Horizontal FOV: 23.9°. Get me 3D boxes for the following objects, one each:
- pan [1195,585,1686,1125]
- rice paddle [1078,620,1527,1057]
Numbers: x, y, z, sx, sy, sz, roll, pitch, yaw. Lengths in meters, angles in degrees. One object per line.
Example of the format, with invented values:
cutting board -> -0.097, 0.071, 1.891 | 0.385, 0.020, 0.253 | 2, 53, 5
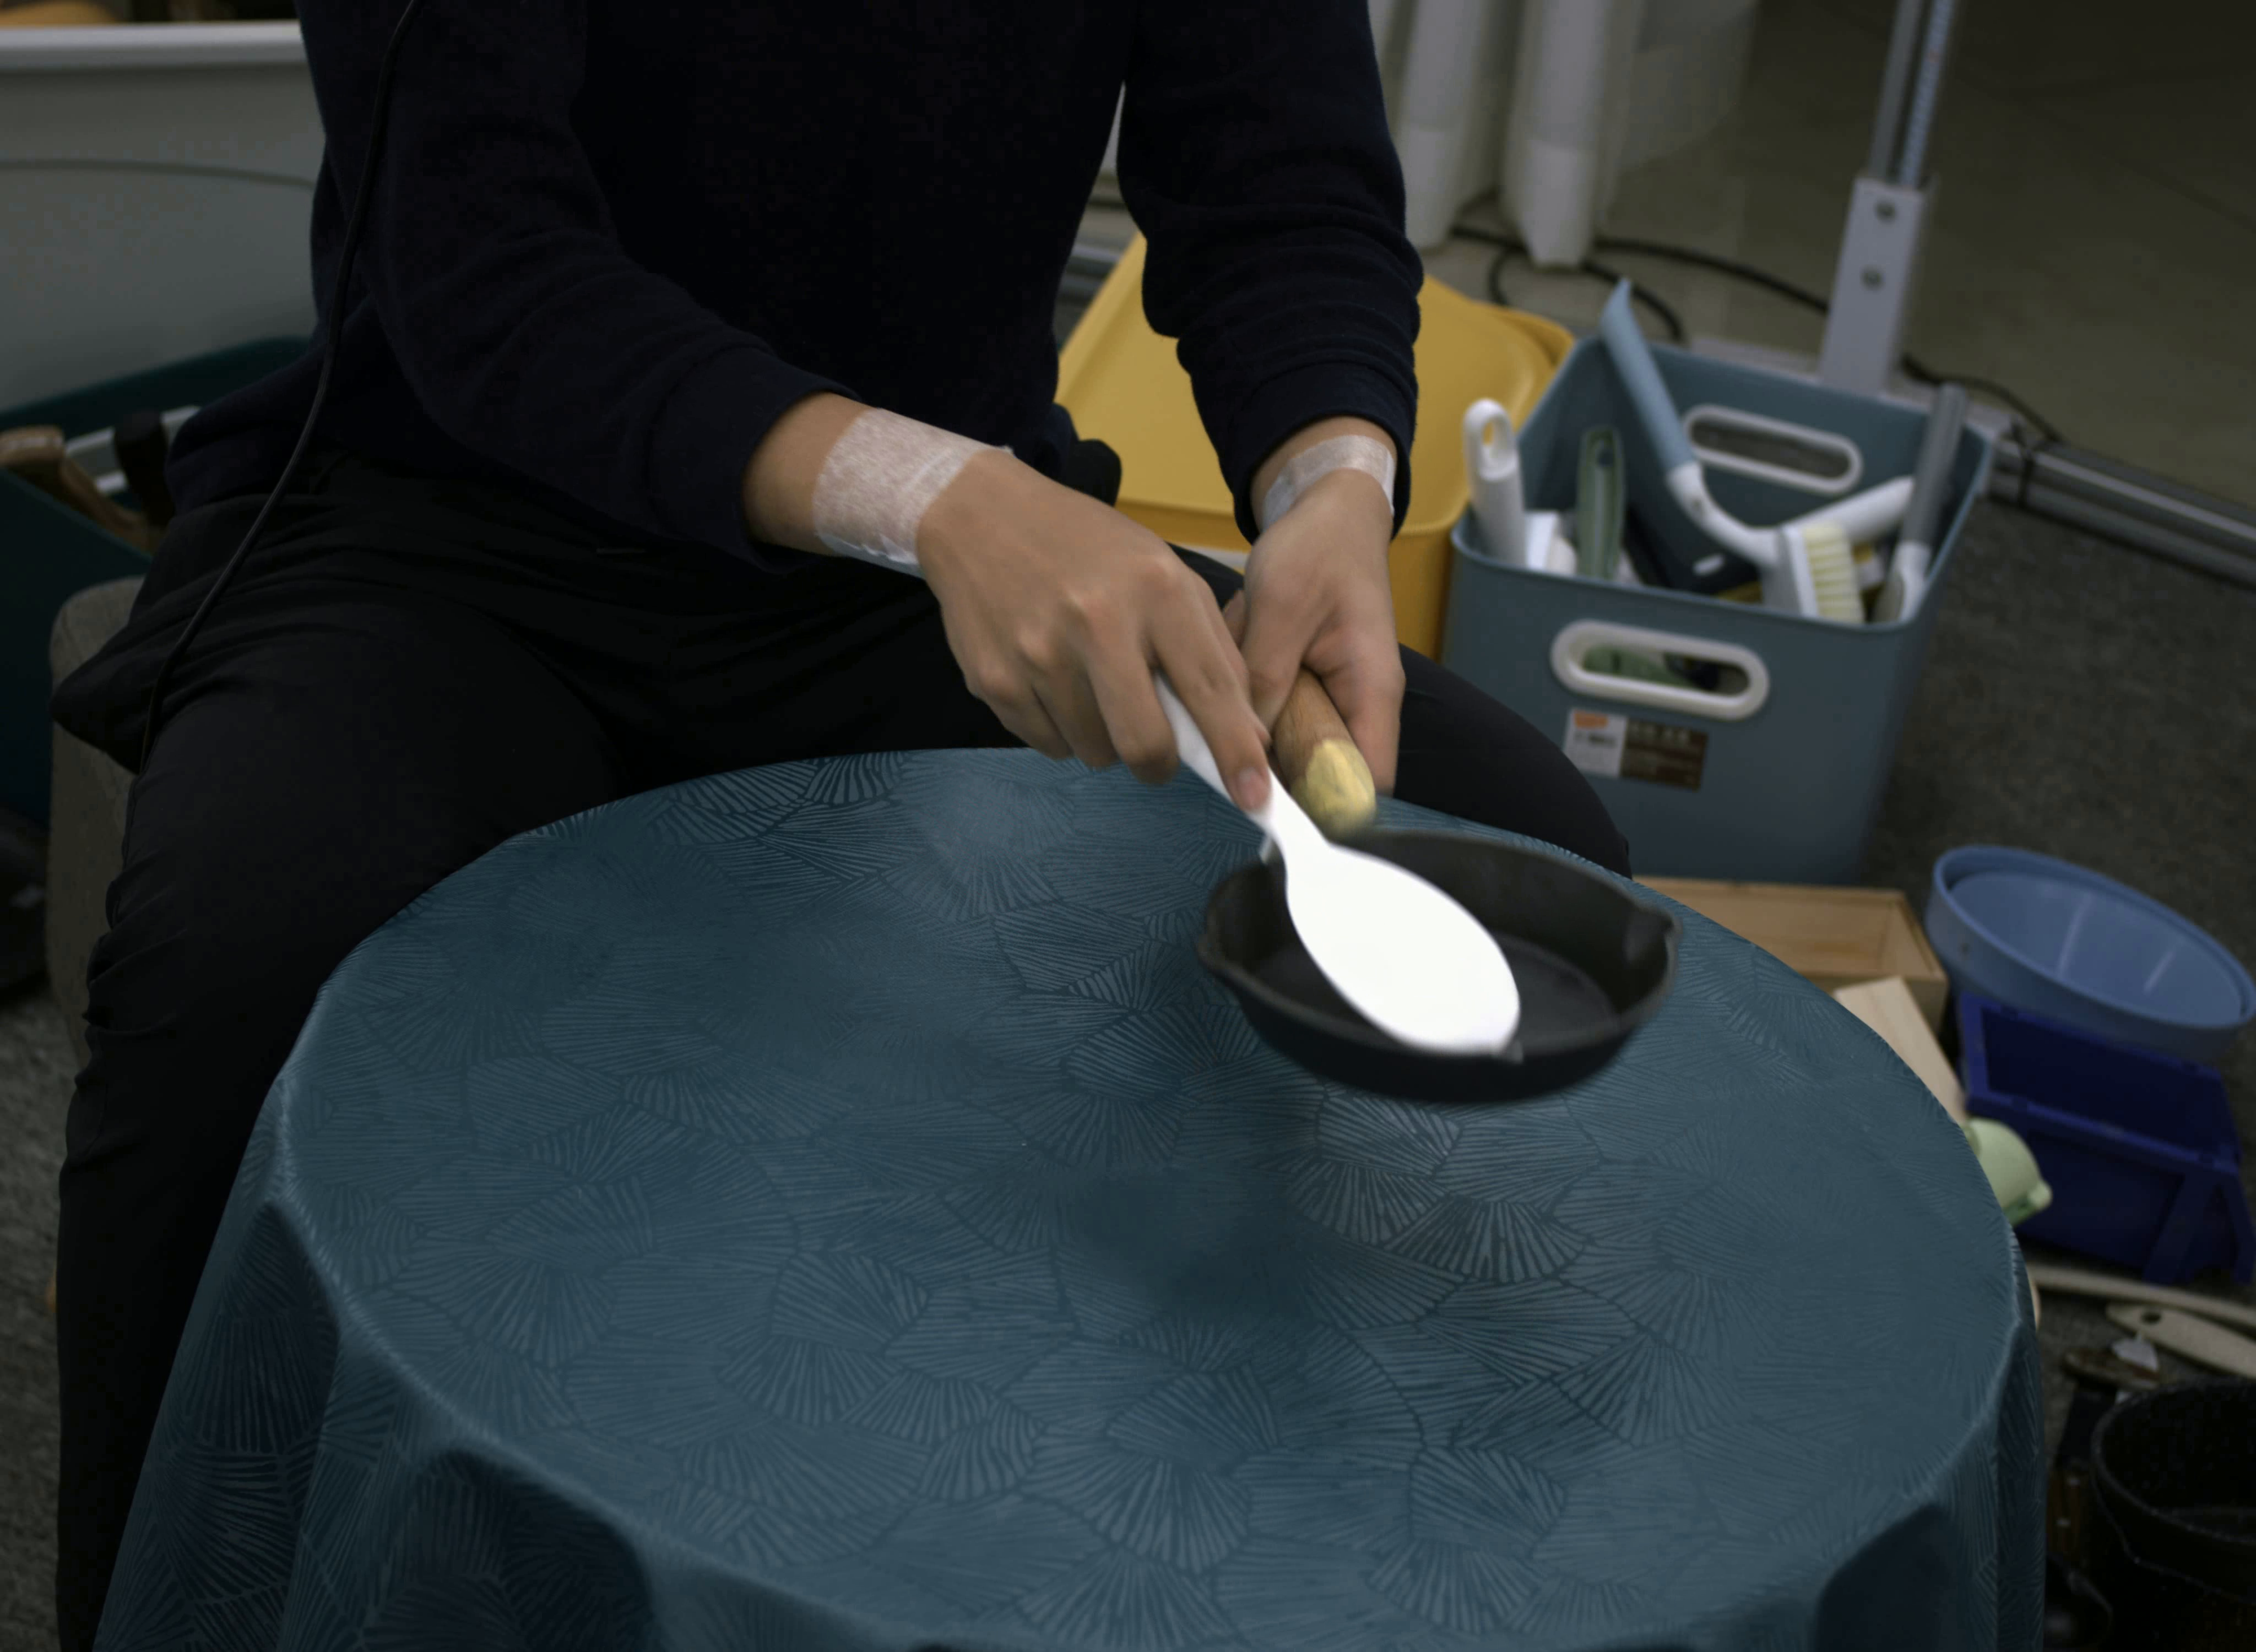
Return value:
pan -> 0.084, 0.007, 1.828 | 0.168, 0.049, 0.327 | -2, 29, -14
rice paddle -> 0.058, 0.006, 1.784 | 0.068, 0.029, 0.207 | -22, 56, -37
